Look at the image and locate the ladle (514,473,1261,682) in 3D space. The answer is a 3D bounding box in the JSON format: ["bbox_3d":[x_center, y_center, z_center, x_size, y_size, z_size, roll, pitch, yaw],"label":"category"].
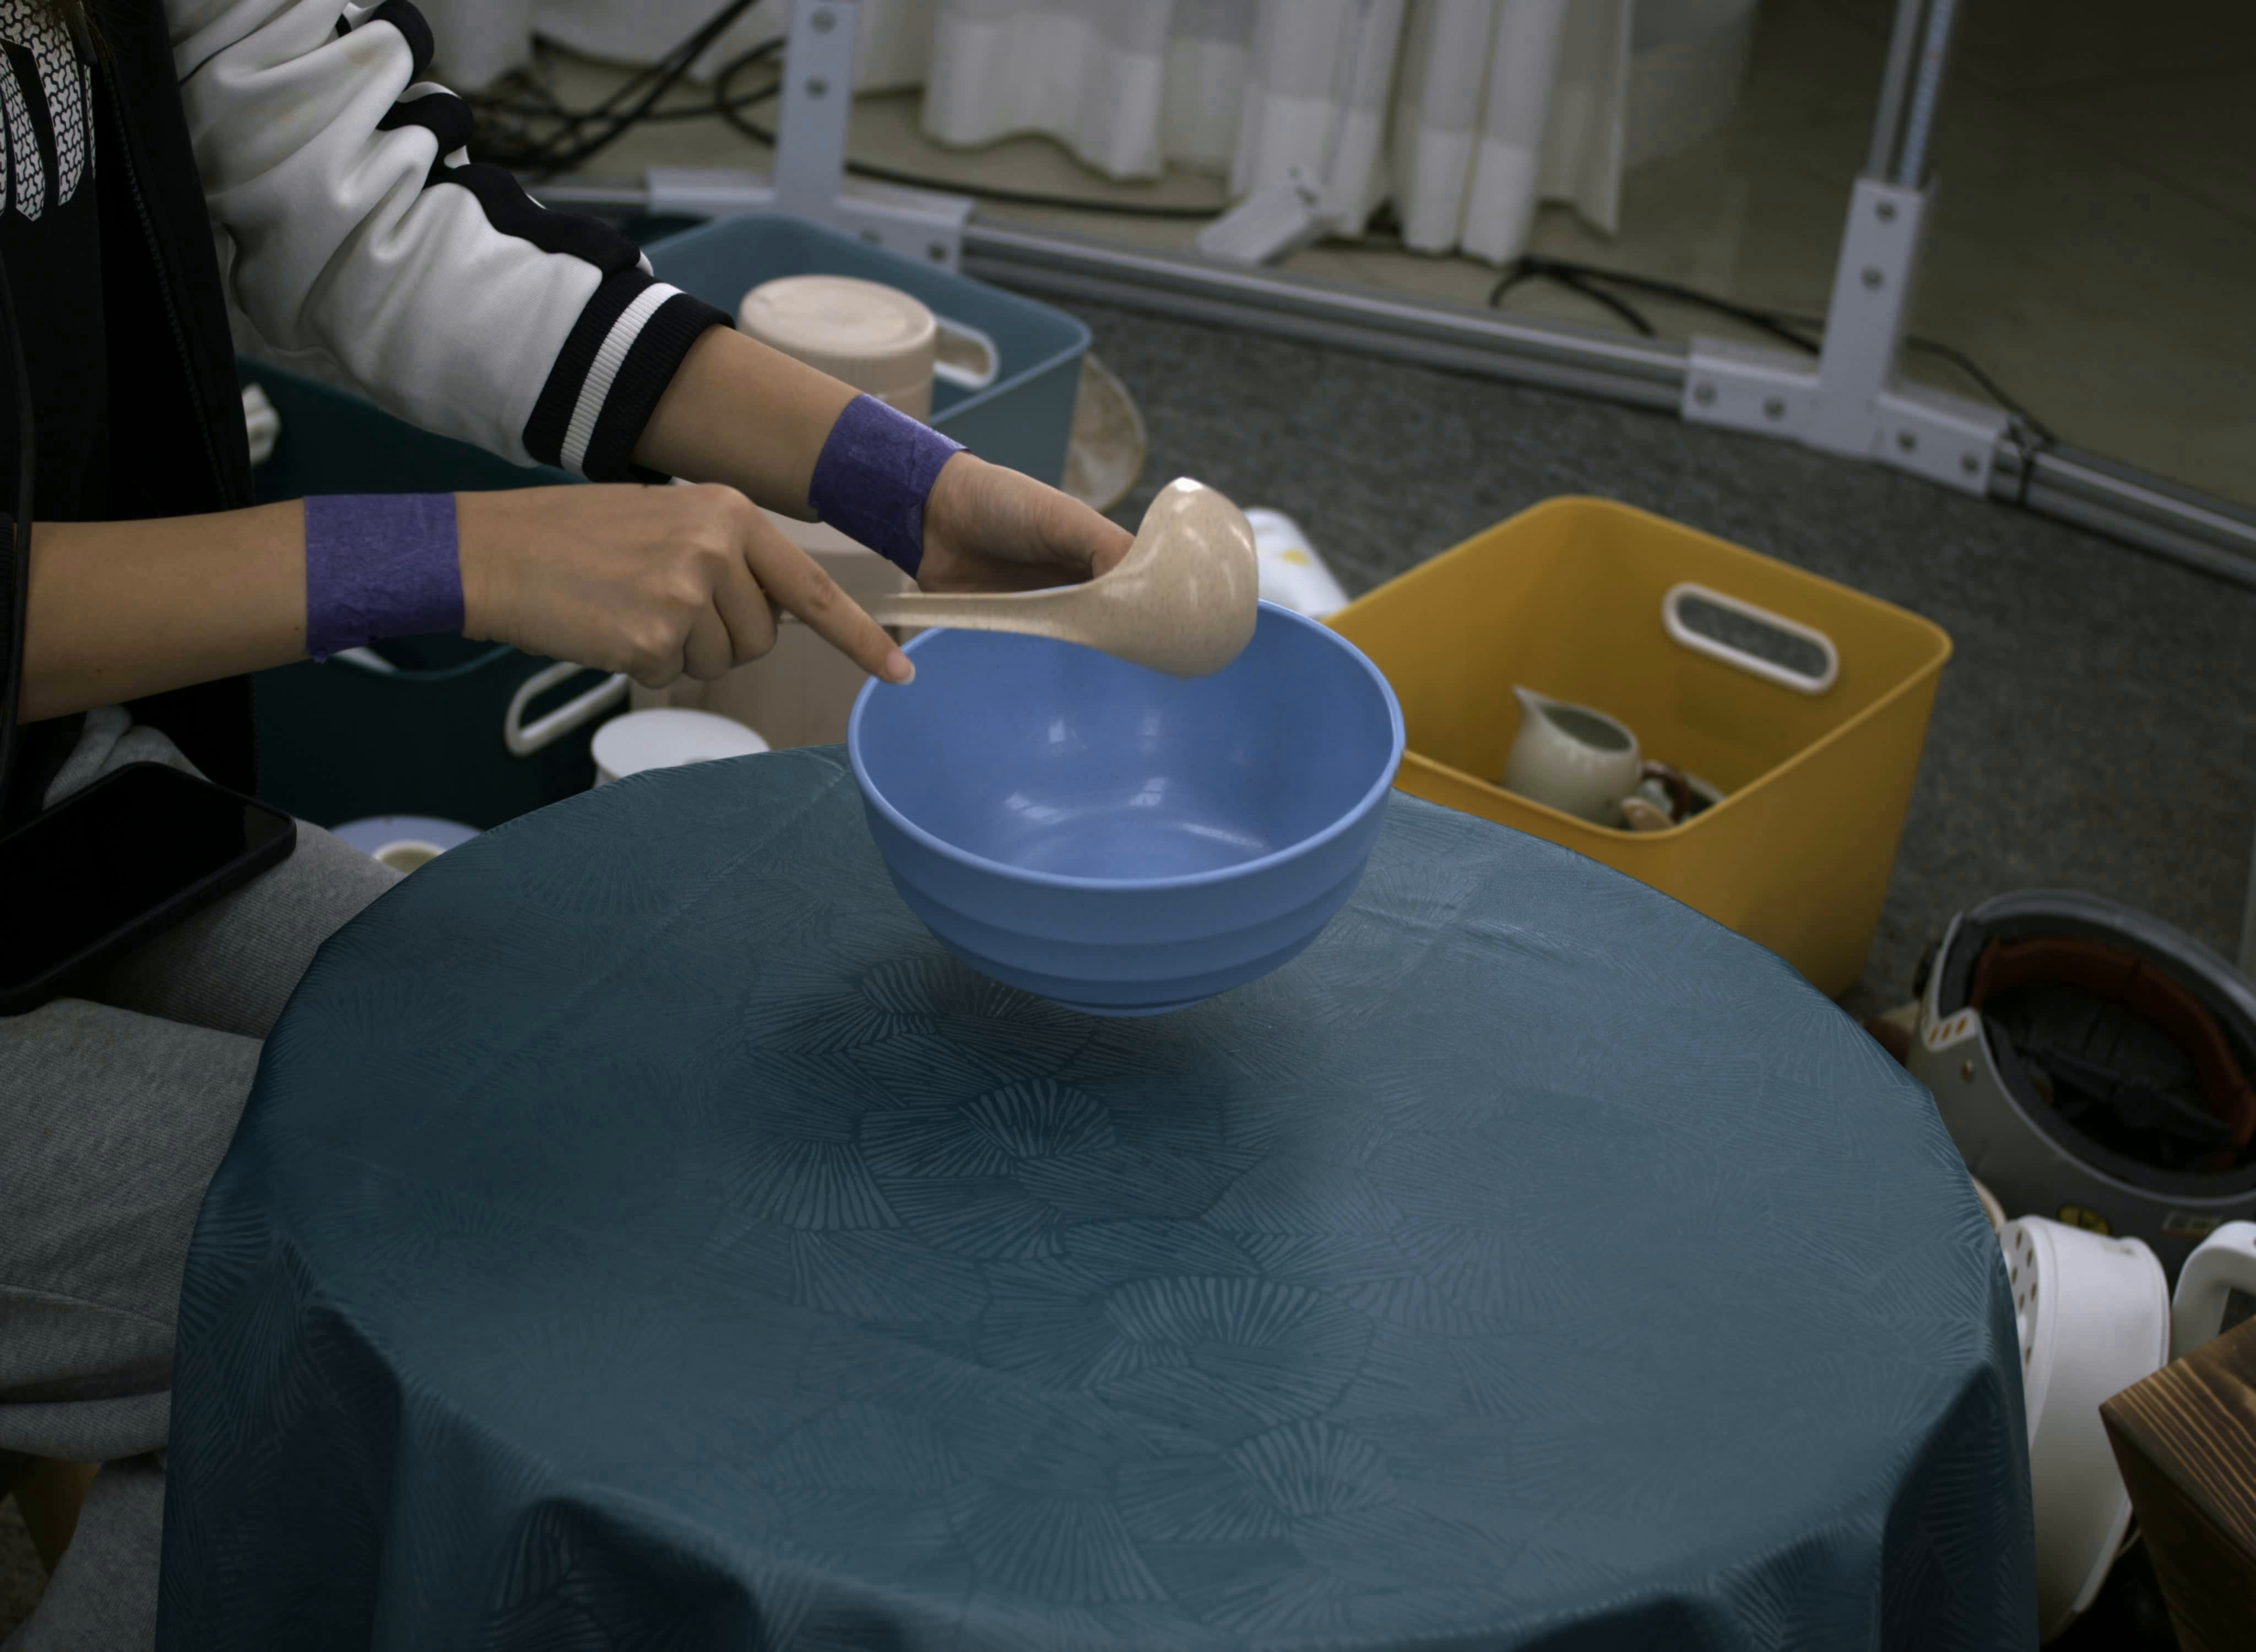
[{"bbox_3d":[-0.081,-0.090,1.836,0.254,0.072,0.073,2,22,0],"label":"ladle"}]

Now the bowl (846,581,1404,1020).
[{"bbox_3d":[-0.001,0.005,1.891,0.196,0.095,0.198,0,34,0],"label":"bowl"}]
